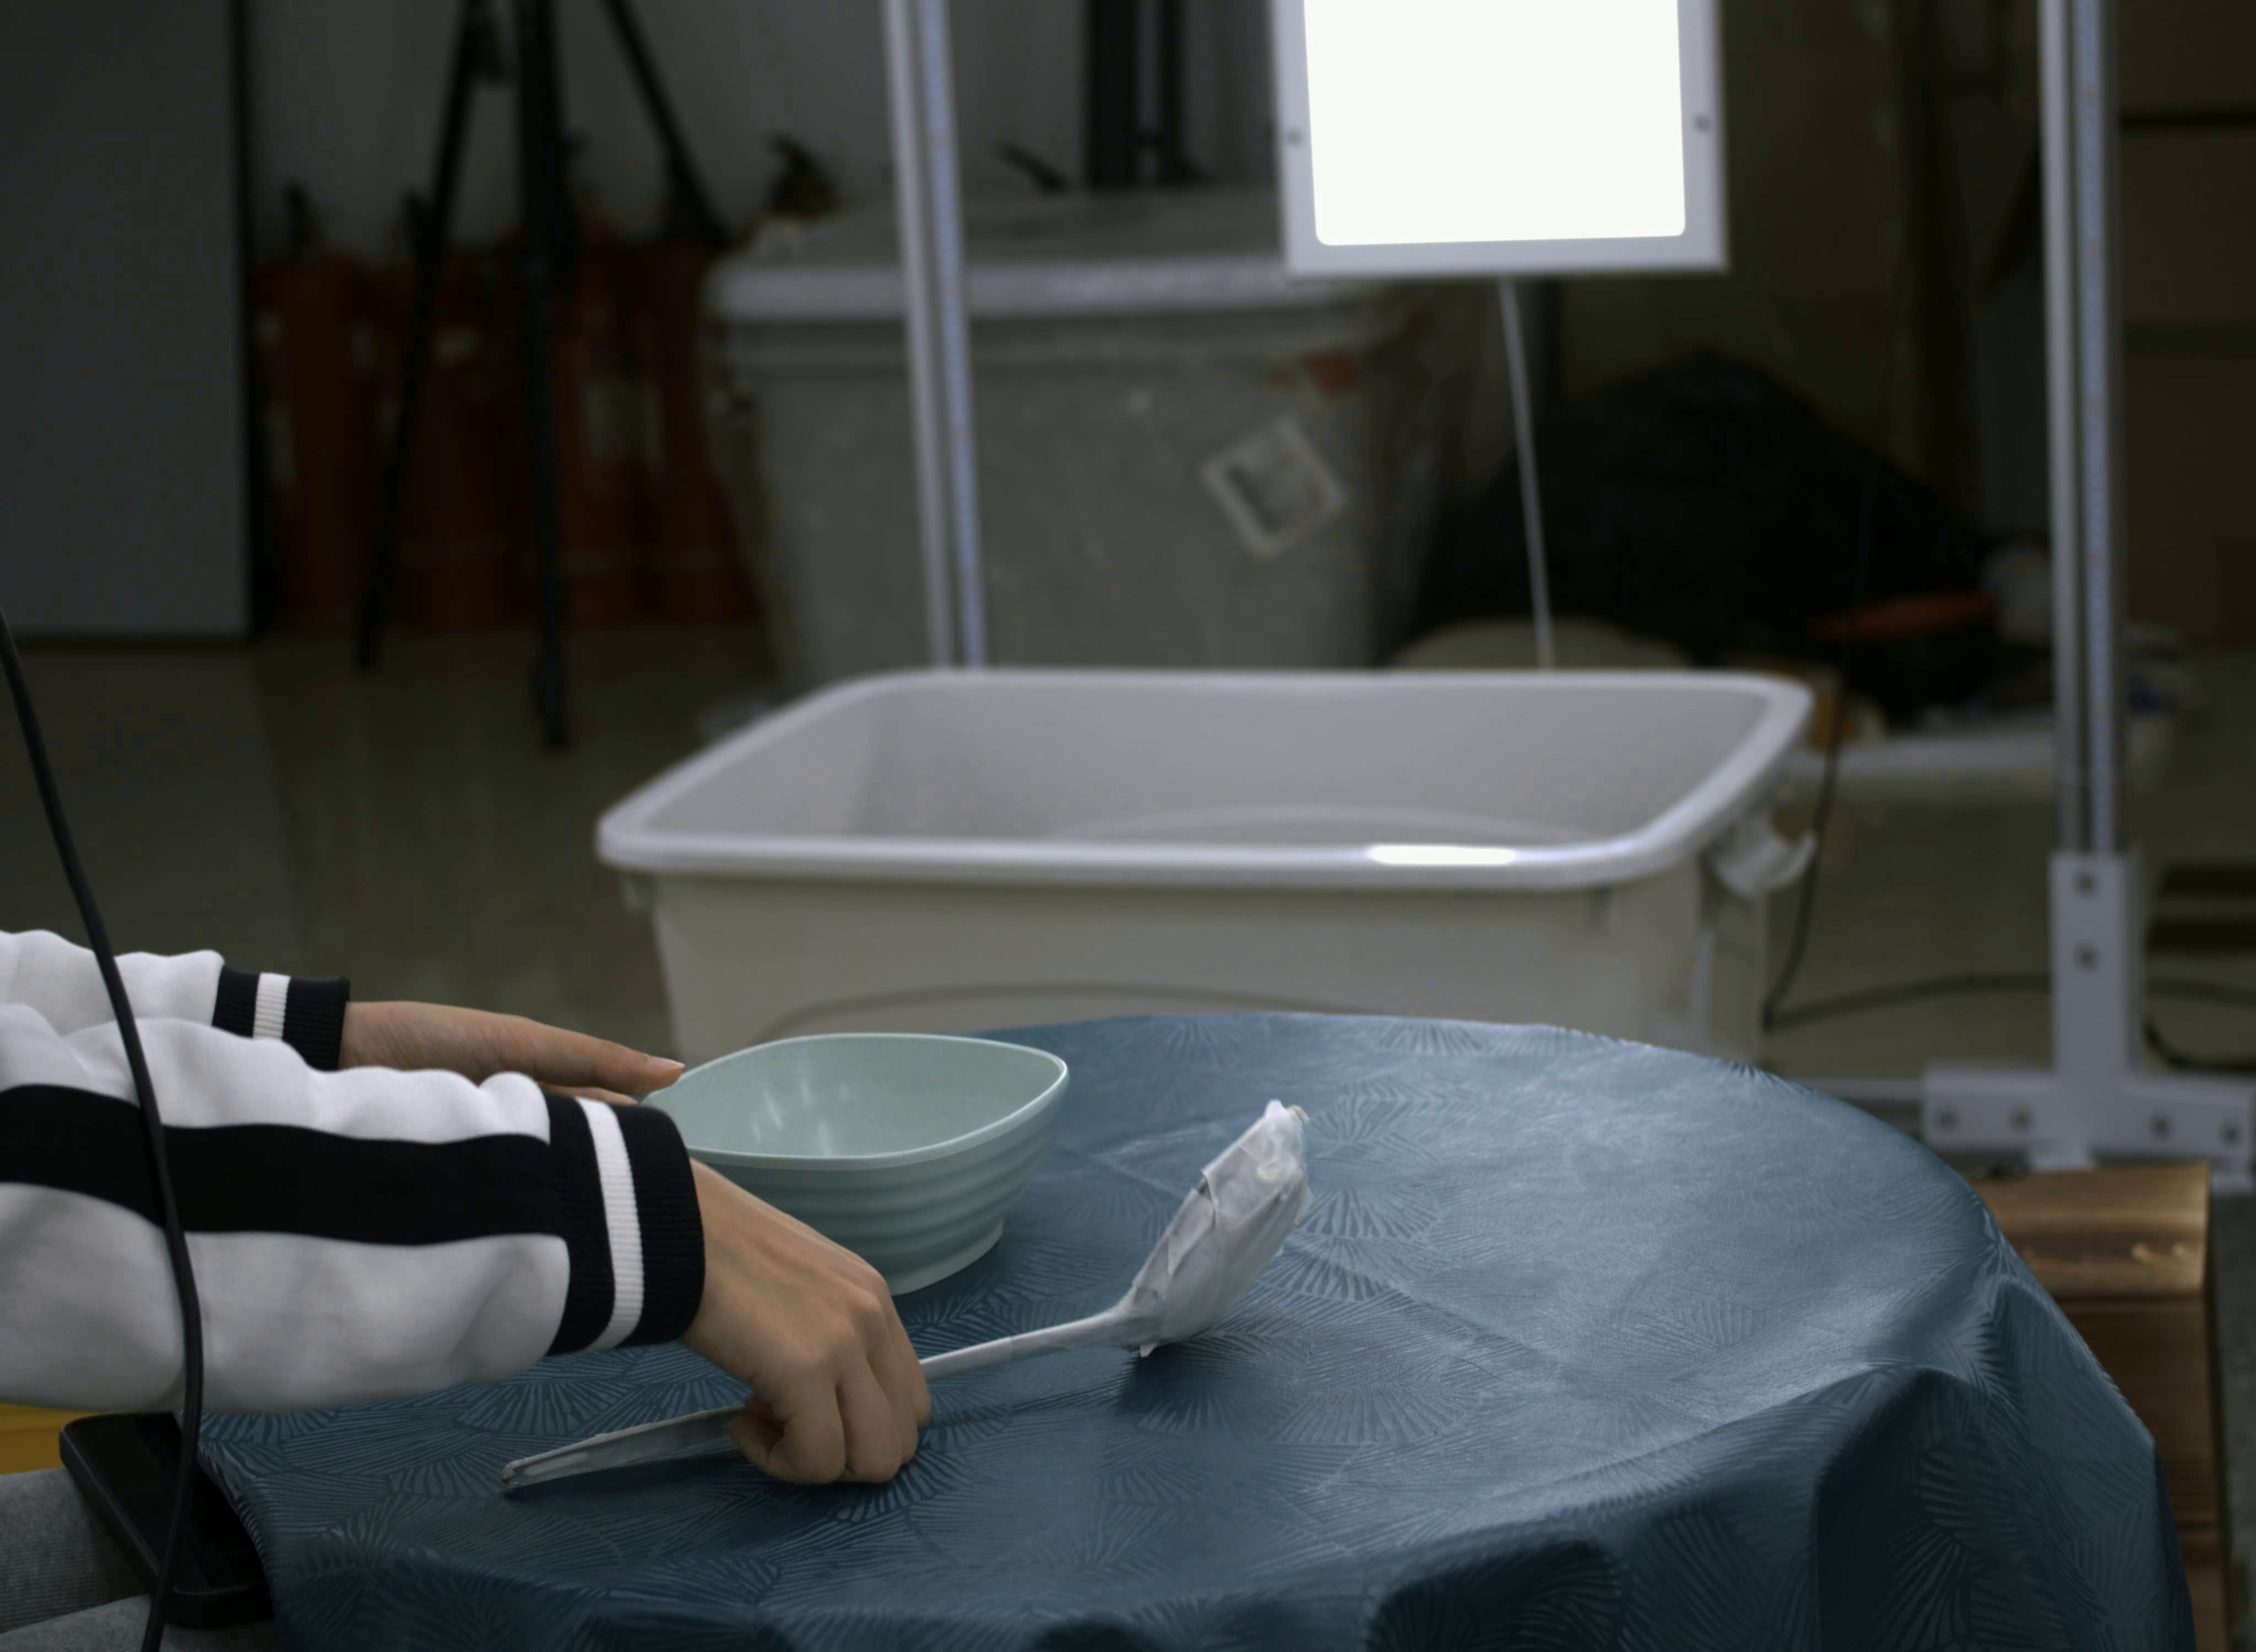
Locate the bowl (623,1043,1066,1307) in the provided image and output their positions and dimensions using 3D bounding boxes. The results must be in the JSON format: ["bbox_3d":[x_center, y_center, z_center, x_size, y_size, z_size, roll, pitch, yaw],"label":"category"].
[{"bbox_3d":[-0.092,0.120,1.850,0.151,0.059,0.151,-5,14,0],"label":"bowl"}]

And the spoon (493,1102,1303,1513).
[{"bbox_3d":[-0.068,0.154,1.710,0.275,0.101,0.060,-14,54,-8],"label":"spoon"}]
